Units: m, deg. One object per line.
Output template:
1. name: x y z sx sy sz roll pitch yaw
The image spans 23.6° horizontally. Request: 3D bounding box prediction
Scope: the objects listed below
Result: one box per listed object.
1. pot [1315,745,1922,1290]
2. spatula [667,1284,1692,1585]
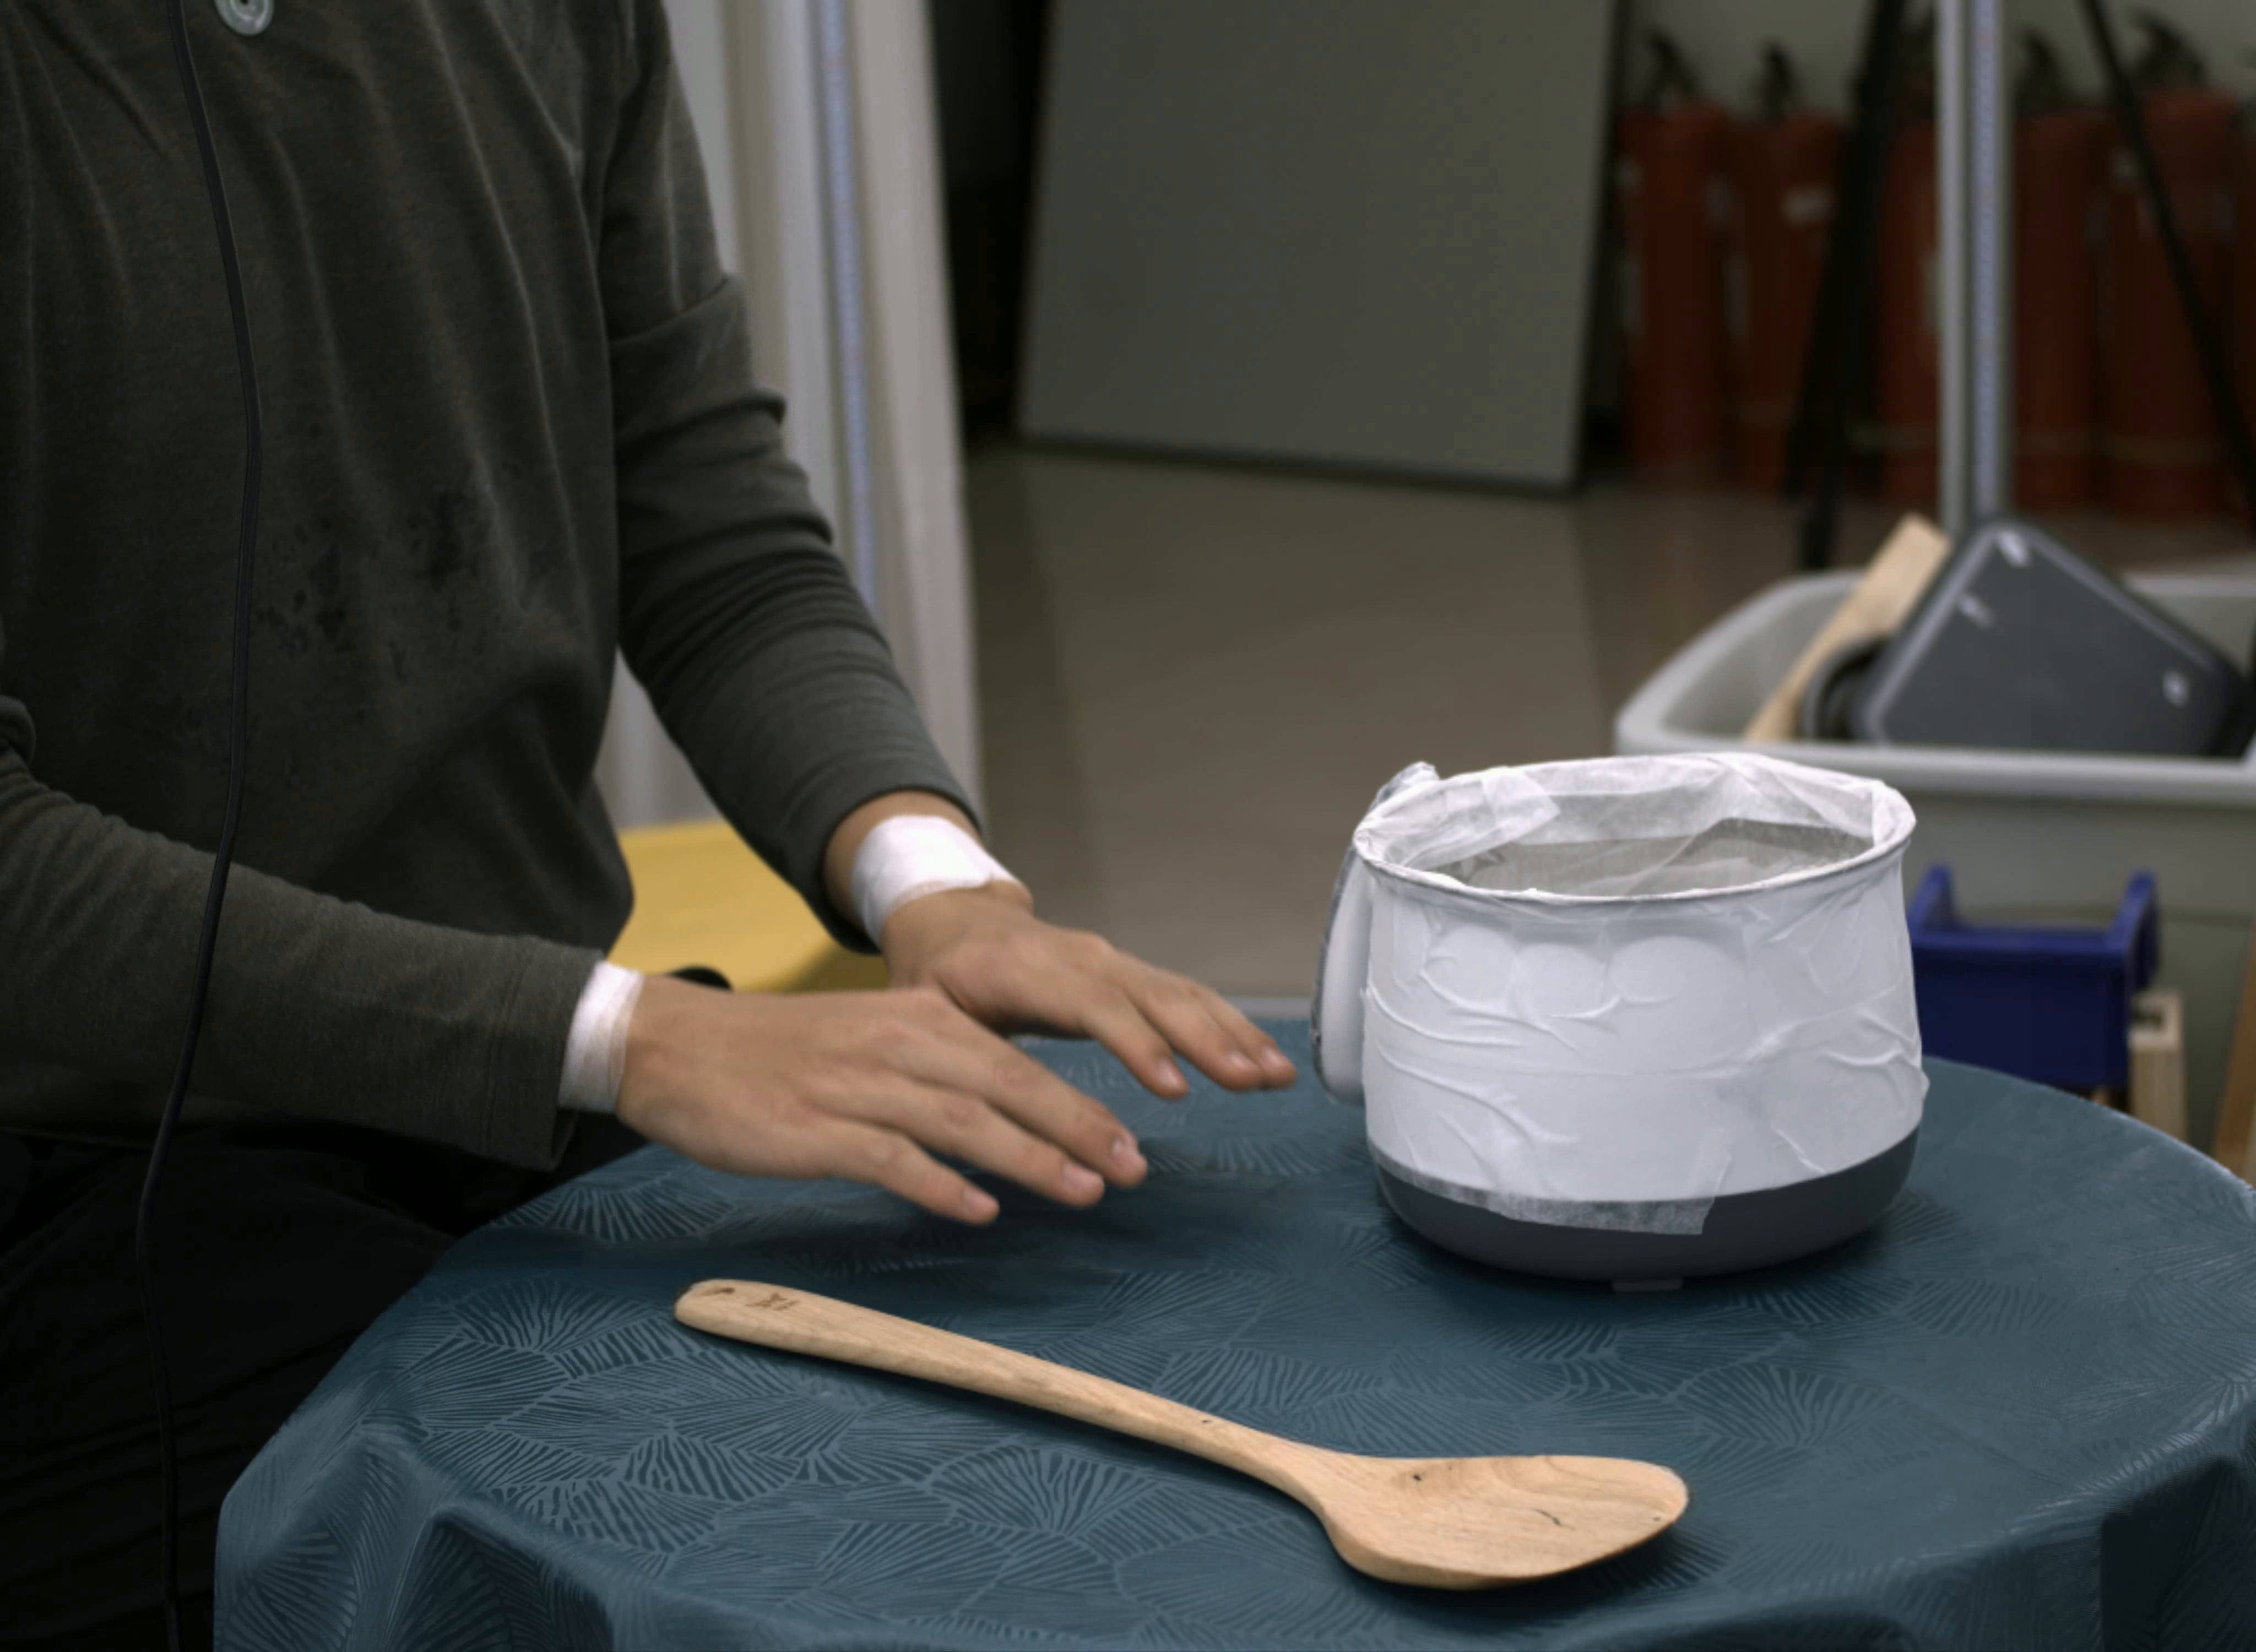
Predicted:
1. pot: 0.143 0.054 1.713 0.175 0.138 0.236 -14 17 -38
2. spatula: -0.006 0.168 1.542 0.094 0.018 0.394 -15 17 -42
